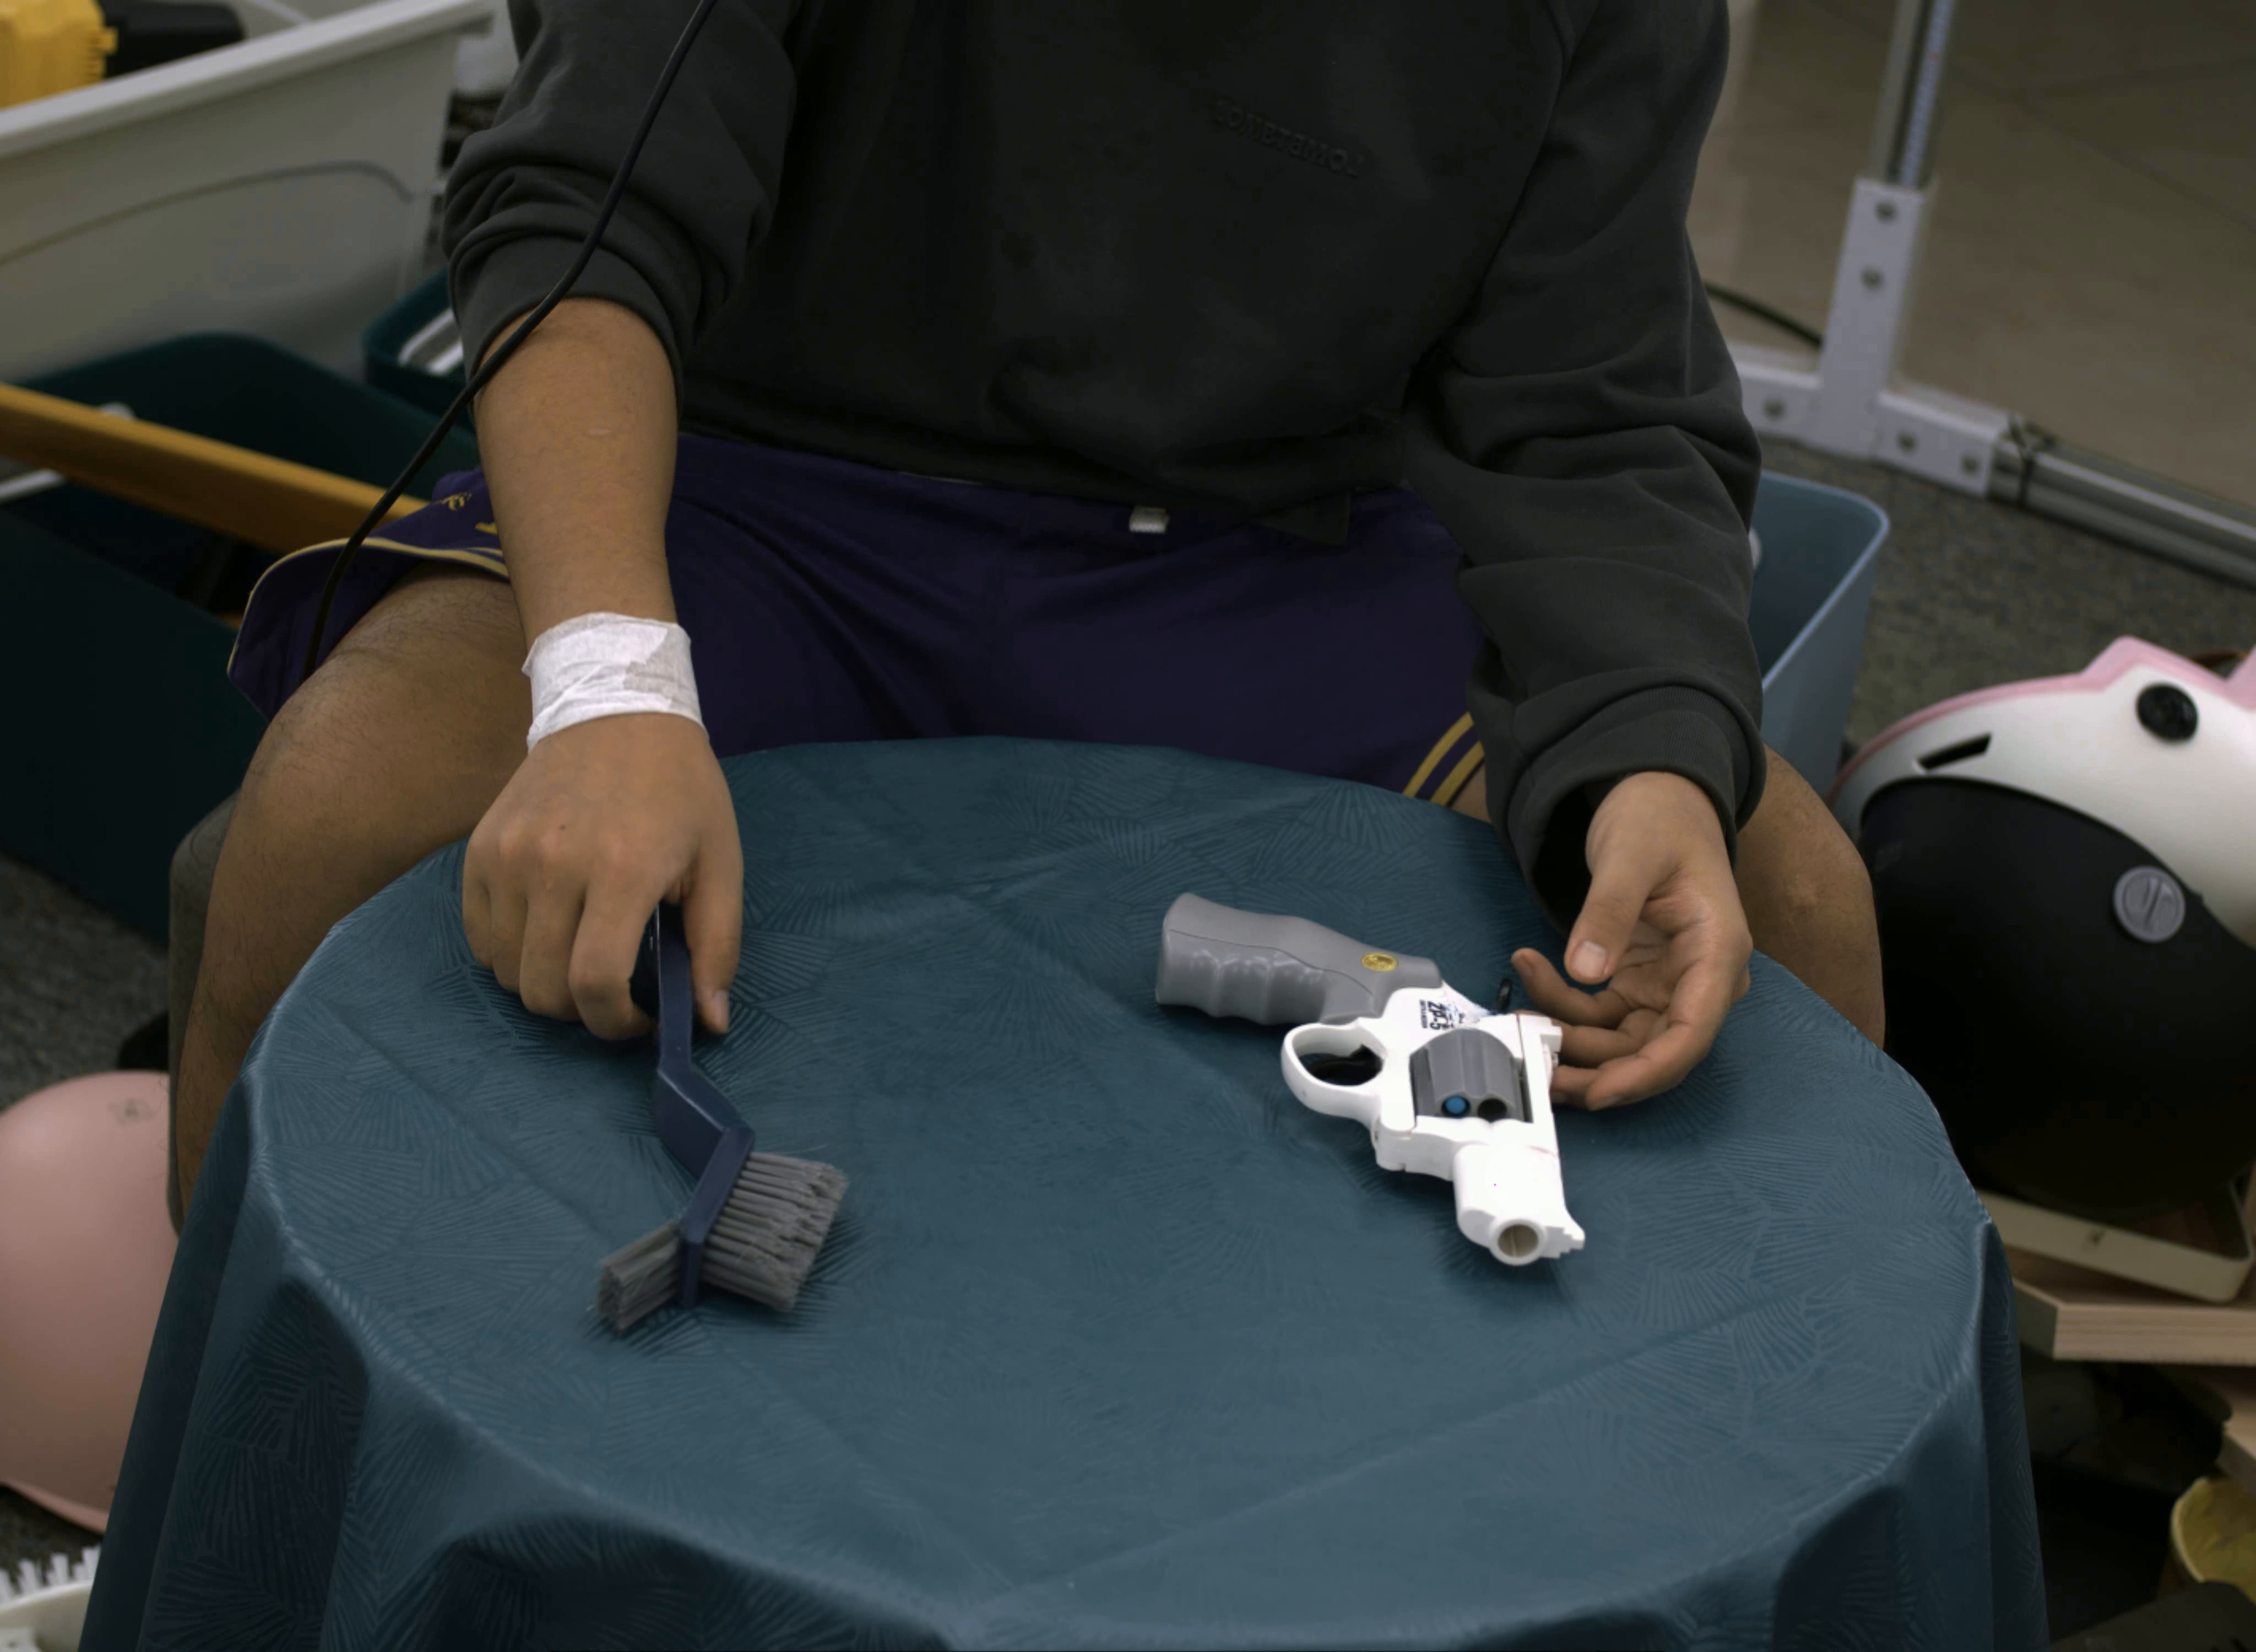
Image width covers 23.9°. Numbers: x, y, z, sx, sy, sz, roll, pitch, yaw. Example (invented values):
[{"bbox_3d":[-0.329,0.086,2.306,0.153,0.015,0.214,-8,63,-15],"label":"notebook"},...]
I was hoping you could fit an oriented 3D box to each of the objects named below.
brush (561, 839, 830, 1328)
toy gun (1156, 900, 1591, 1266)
[{"bbox_3d":[-0.160,0.083,1.810,0.095,0.033,0.275,-1,28,-13],"label":"brush"},{"bbox_3d":[0.083,0.087,1.851,0.141,0.038,0.210,3,27,-3],"label":"toy gun"}]
